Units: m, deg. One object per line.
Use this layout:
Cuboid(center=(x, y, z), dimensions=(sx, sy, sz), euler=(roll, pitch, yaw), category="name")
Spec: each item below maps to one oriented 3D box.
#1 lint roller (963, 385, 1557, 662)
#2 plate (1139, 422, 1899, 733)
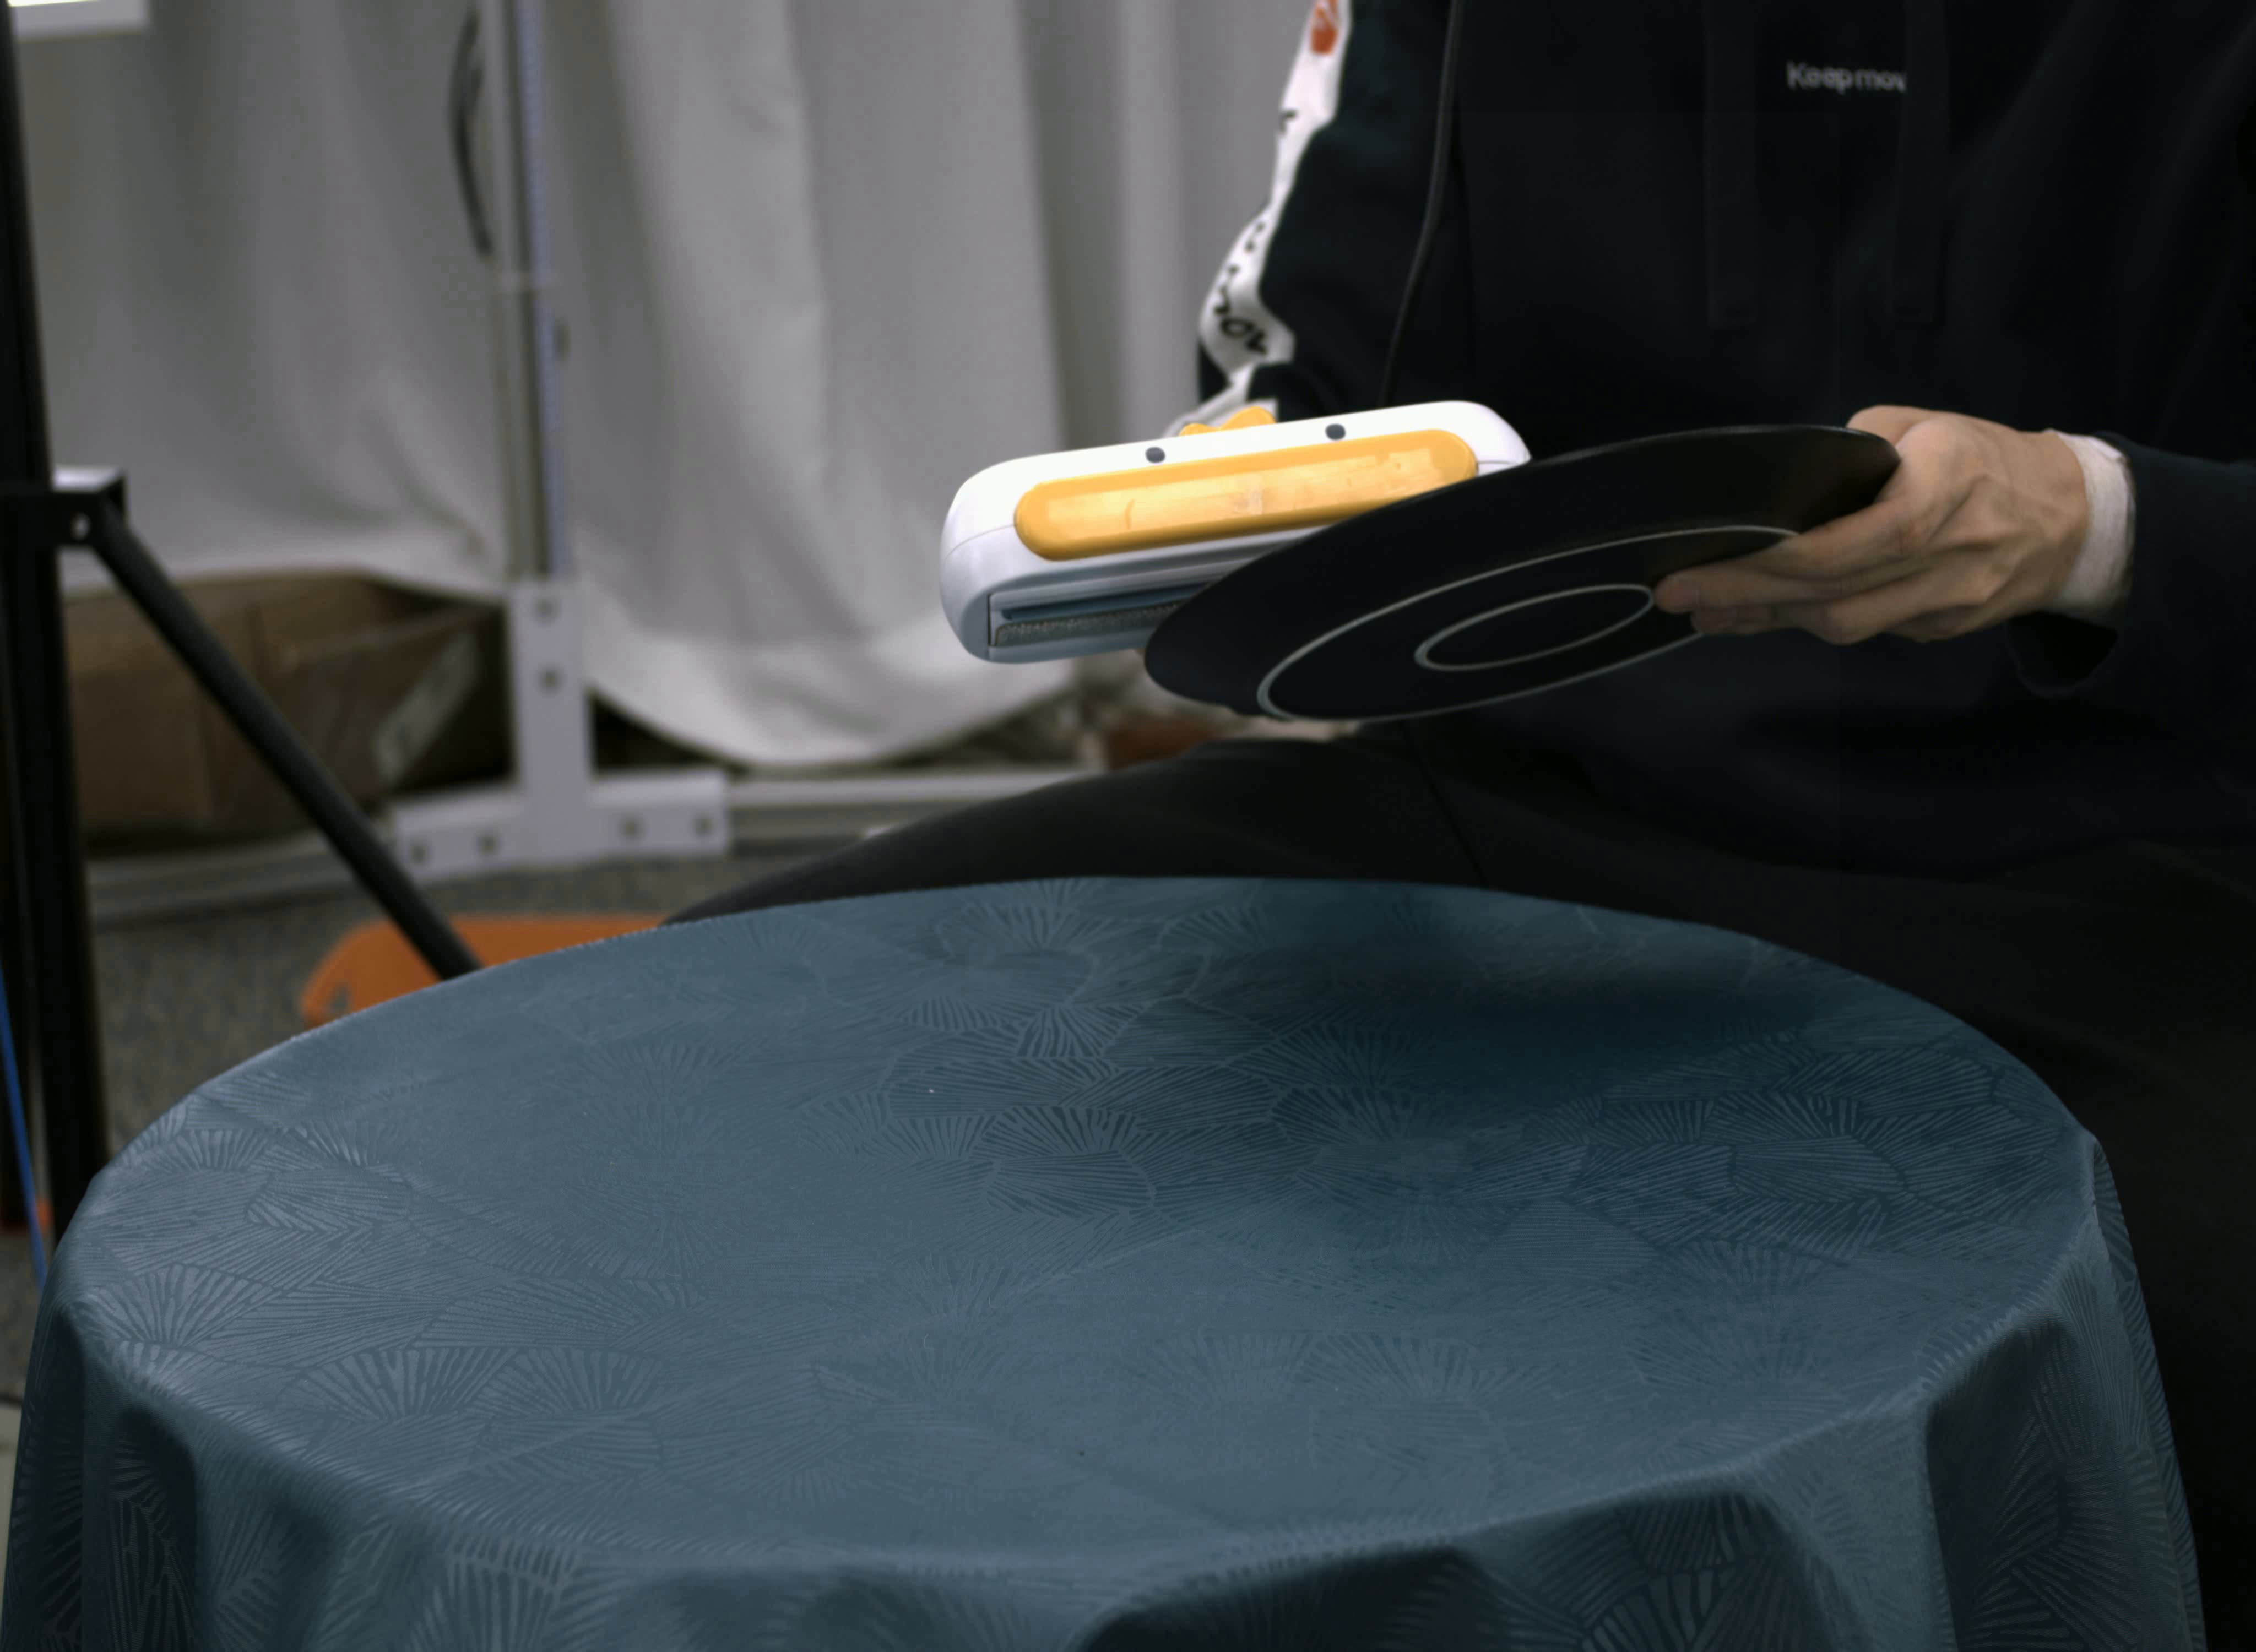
Cuboid(center=(0.034, -0.081, 1.738), dimensions=(0.191, 0.075, 0.192), euler=(-11, -18, -9), category="lint roller")
Cuboid(center=(0.124, -0.069, 1.652), dimensions=(0.242, 0.023, 0.244), euler=(-13, -12, -4), category="plate")
